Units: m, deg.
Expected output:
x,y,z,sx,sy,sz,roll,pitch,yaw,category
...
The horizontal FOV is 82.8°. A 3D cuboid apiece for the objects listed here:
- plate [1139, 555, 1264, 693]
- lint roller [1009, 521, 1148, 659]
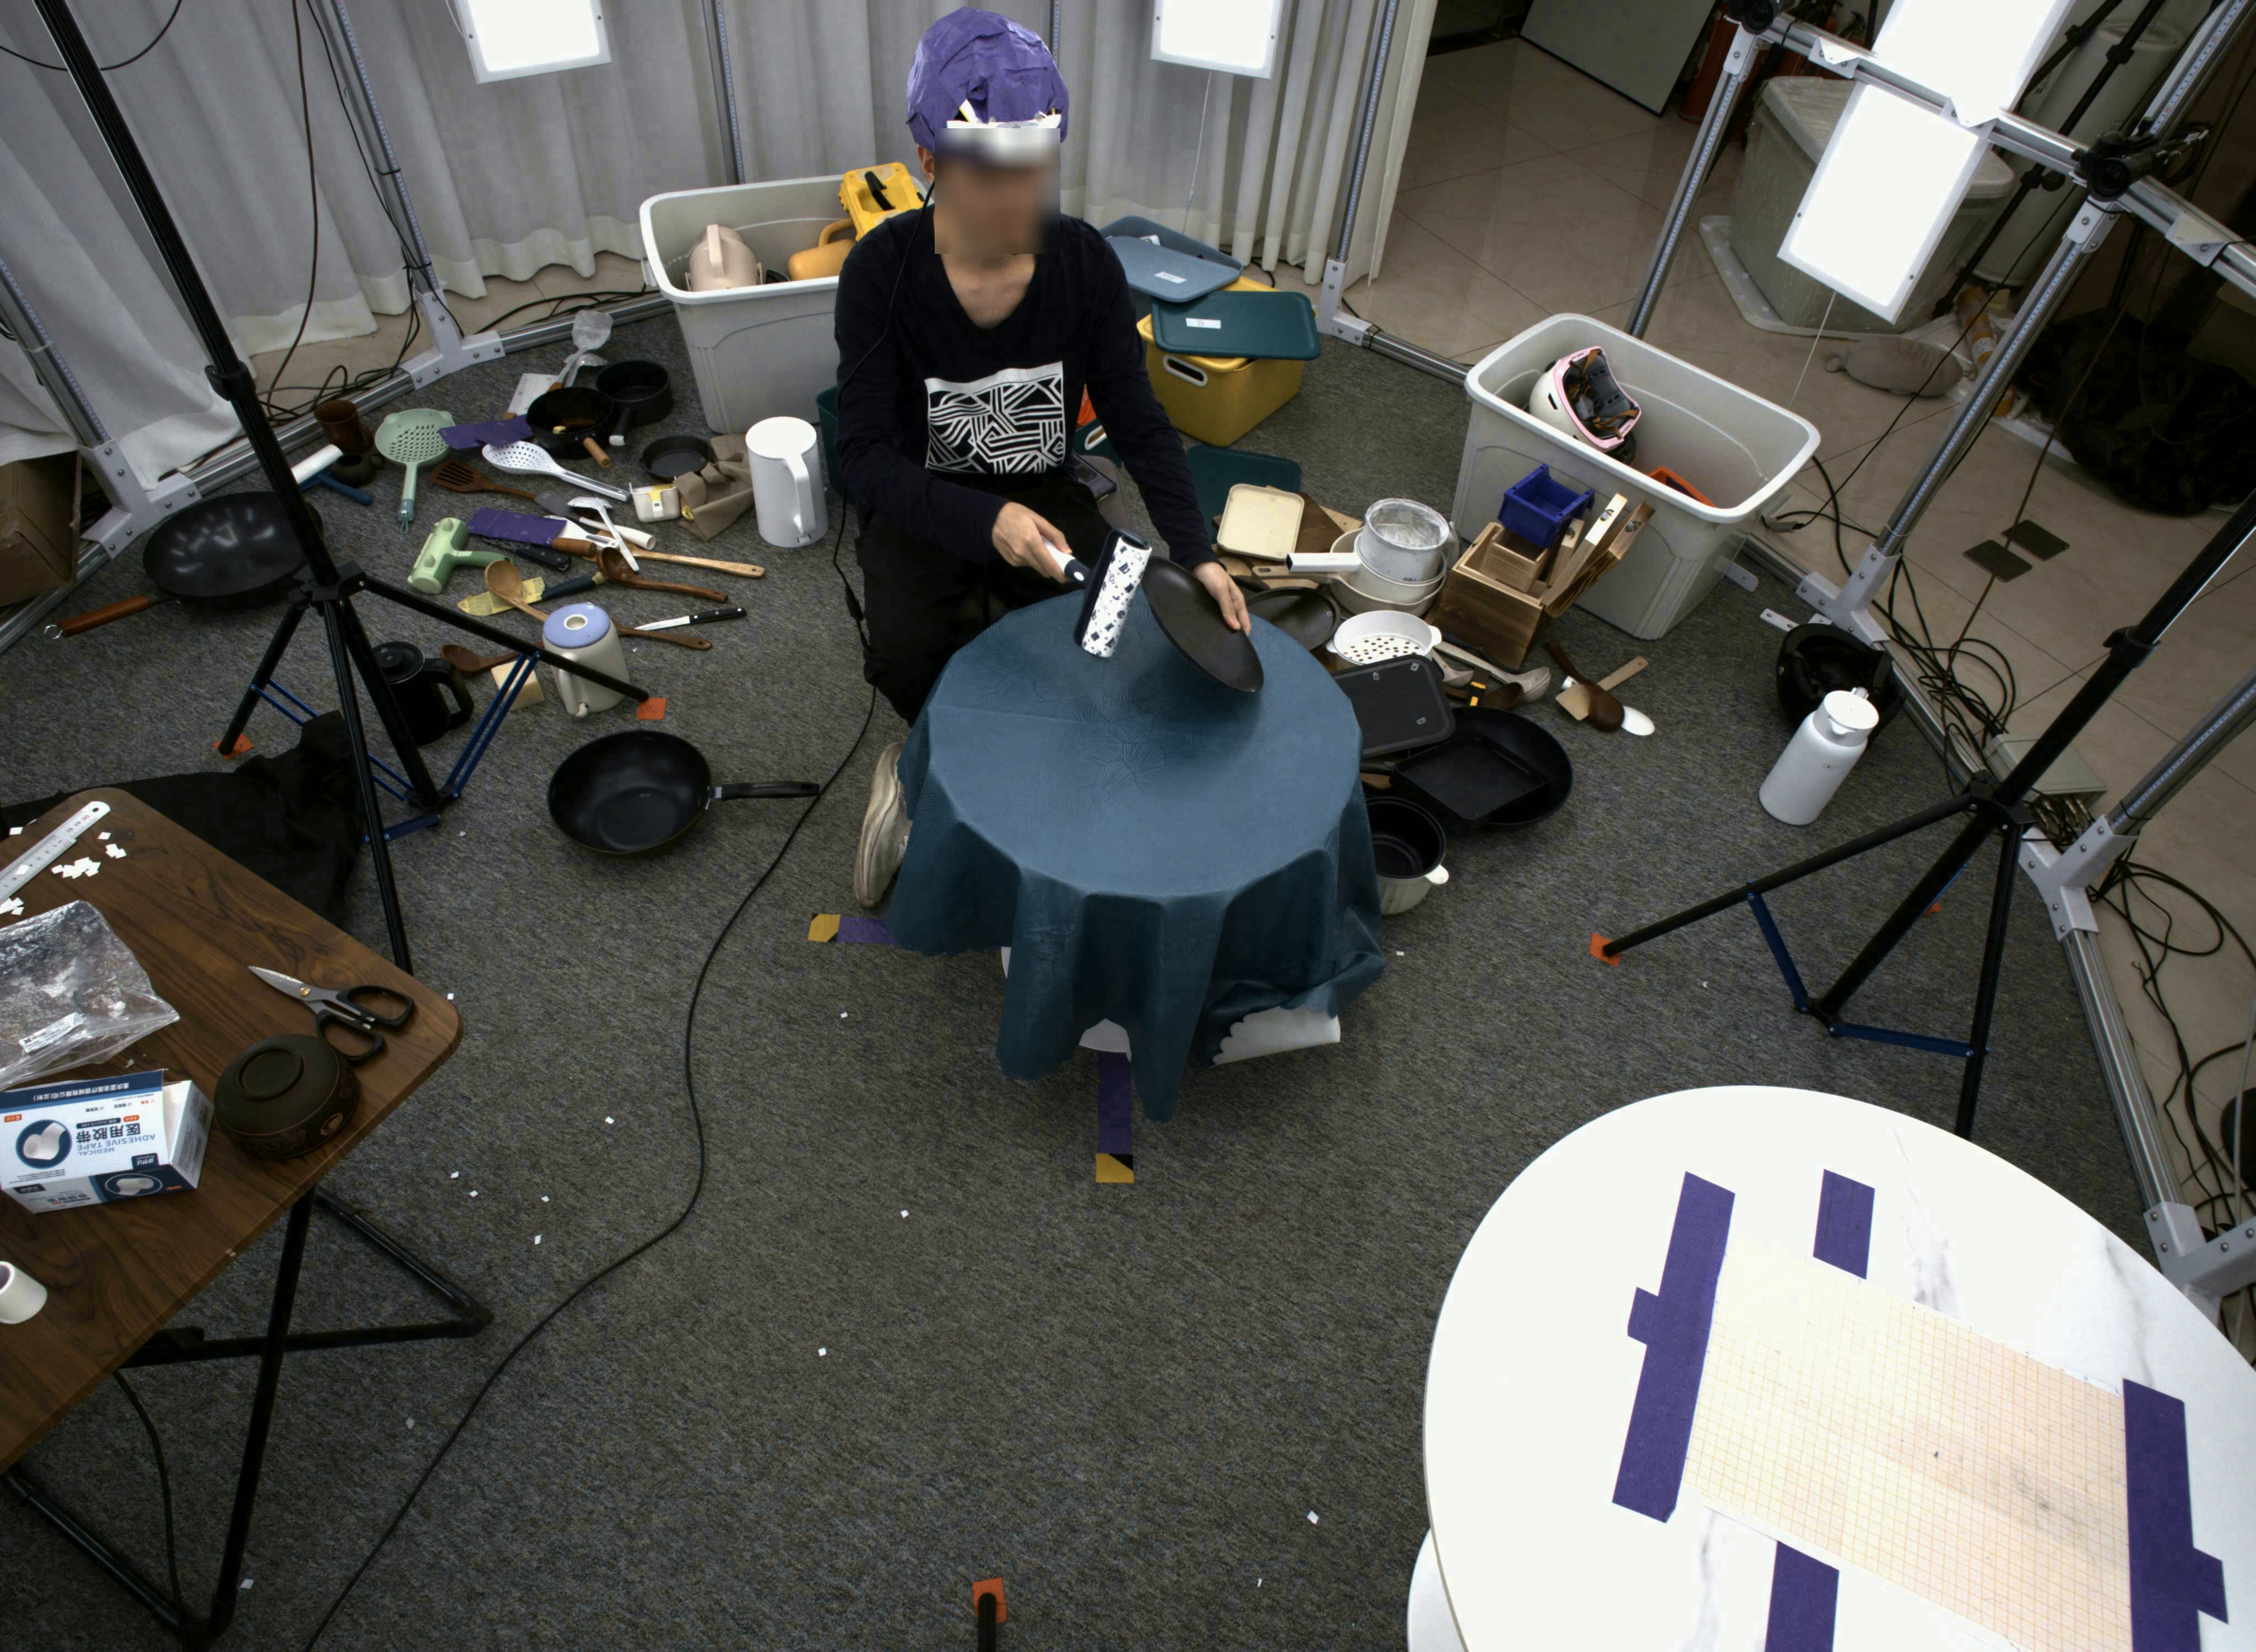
x,y,z,sx,sy,sz,roll,pitch,yaw,category
0.099,-0.279,1.802,0.241,0.023,0.250,34,32,-25,plate
-0.088,-0.365,1.800,0.251,0.173,0.050,37,31,31,lint roller
